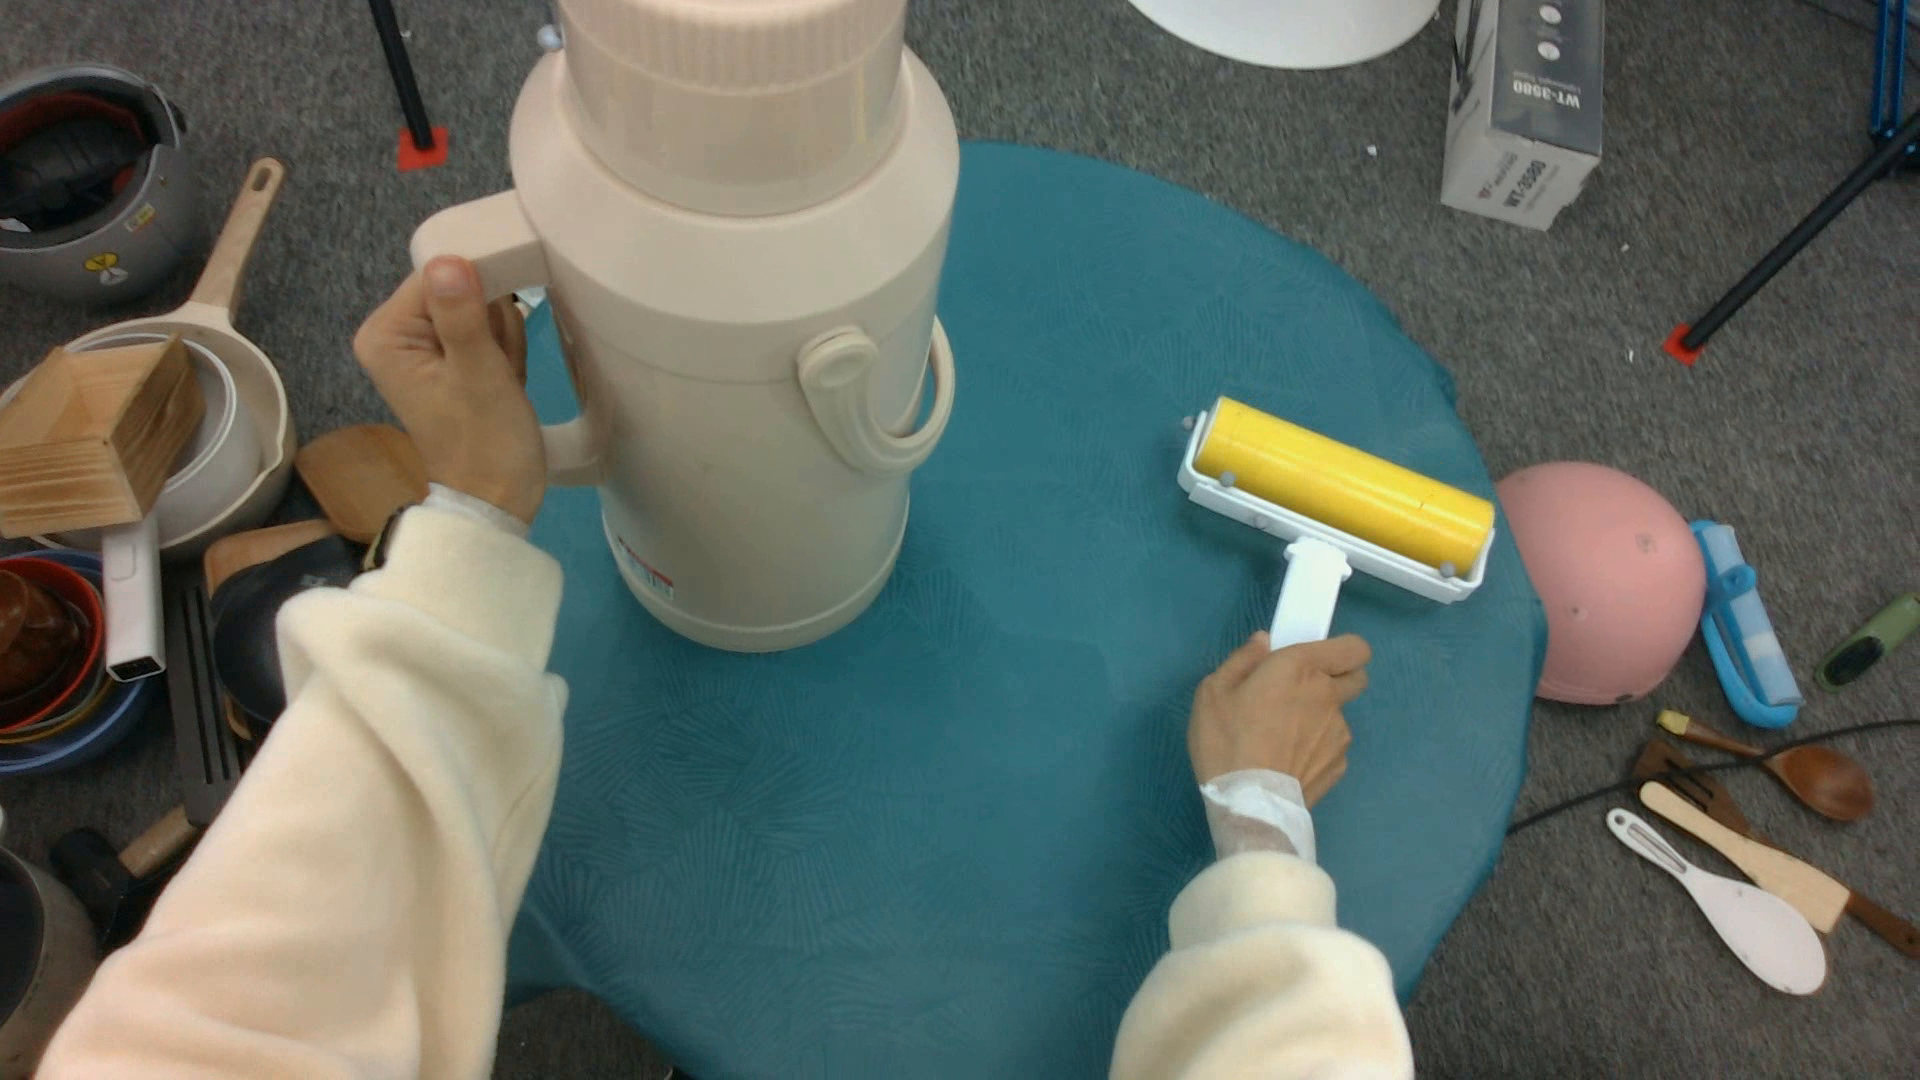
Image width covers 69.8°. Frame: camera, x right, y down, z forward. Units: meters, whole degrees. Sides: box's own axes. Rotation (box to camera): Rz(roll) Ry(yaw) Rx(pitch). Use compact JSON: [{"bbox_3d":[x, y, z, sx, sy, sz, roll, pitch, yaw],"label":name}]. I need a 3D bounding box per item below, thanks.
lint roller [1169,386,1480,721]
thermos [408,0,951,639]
[{"bbox_3d":[0.186,0.010,0.723,0.174,0.051,0.193,21,43,2],"label":"lint roller"},{"bbox_3d":[-0.104,-0.100,0.570,0.207,0.404,0.175,-24,70,-17],"label":"thermos"}]
